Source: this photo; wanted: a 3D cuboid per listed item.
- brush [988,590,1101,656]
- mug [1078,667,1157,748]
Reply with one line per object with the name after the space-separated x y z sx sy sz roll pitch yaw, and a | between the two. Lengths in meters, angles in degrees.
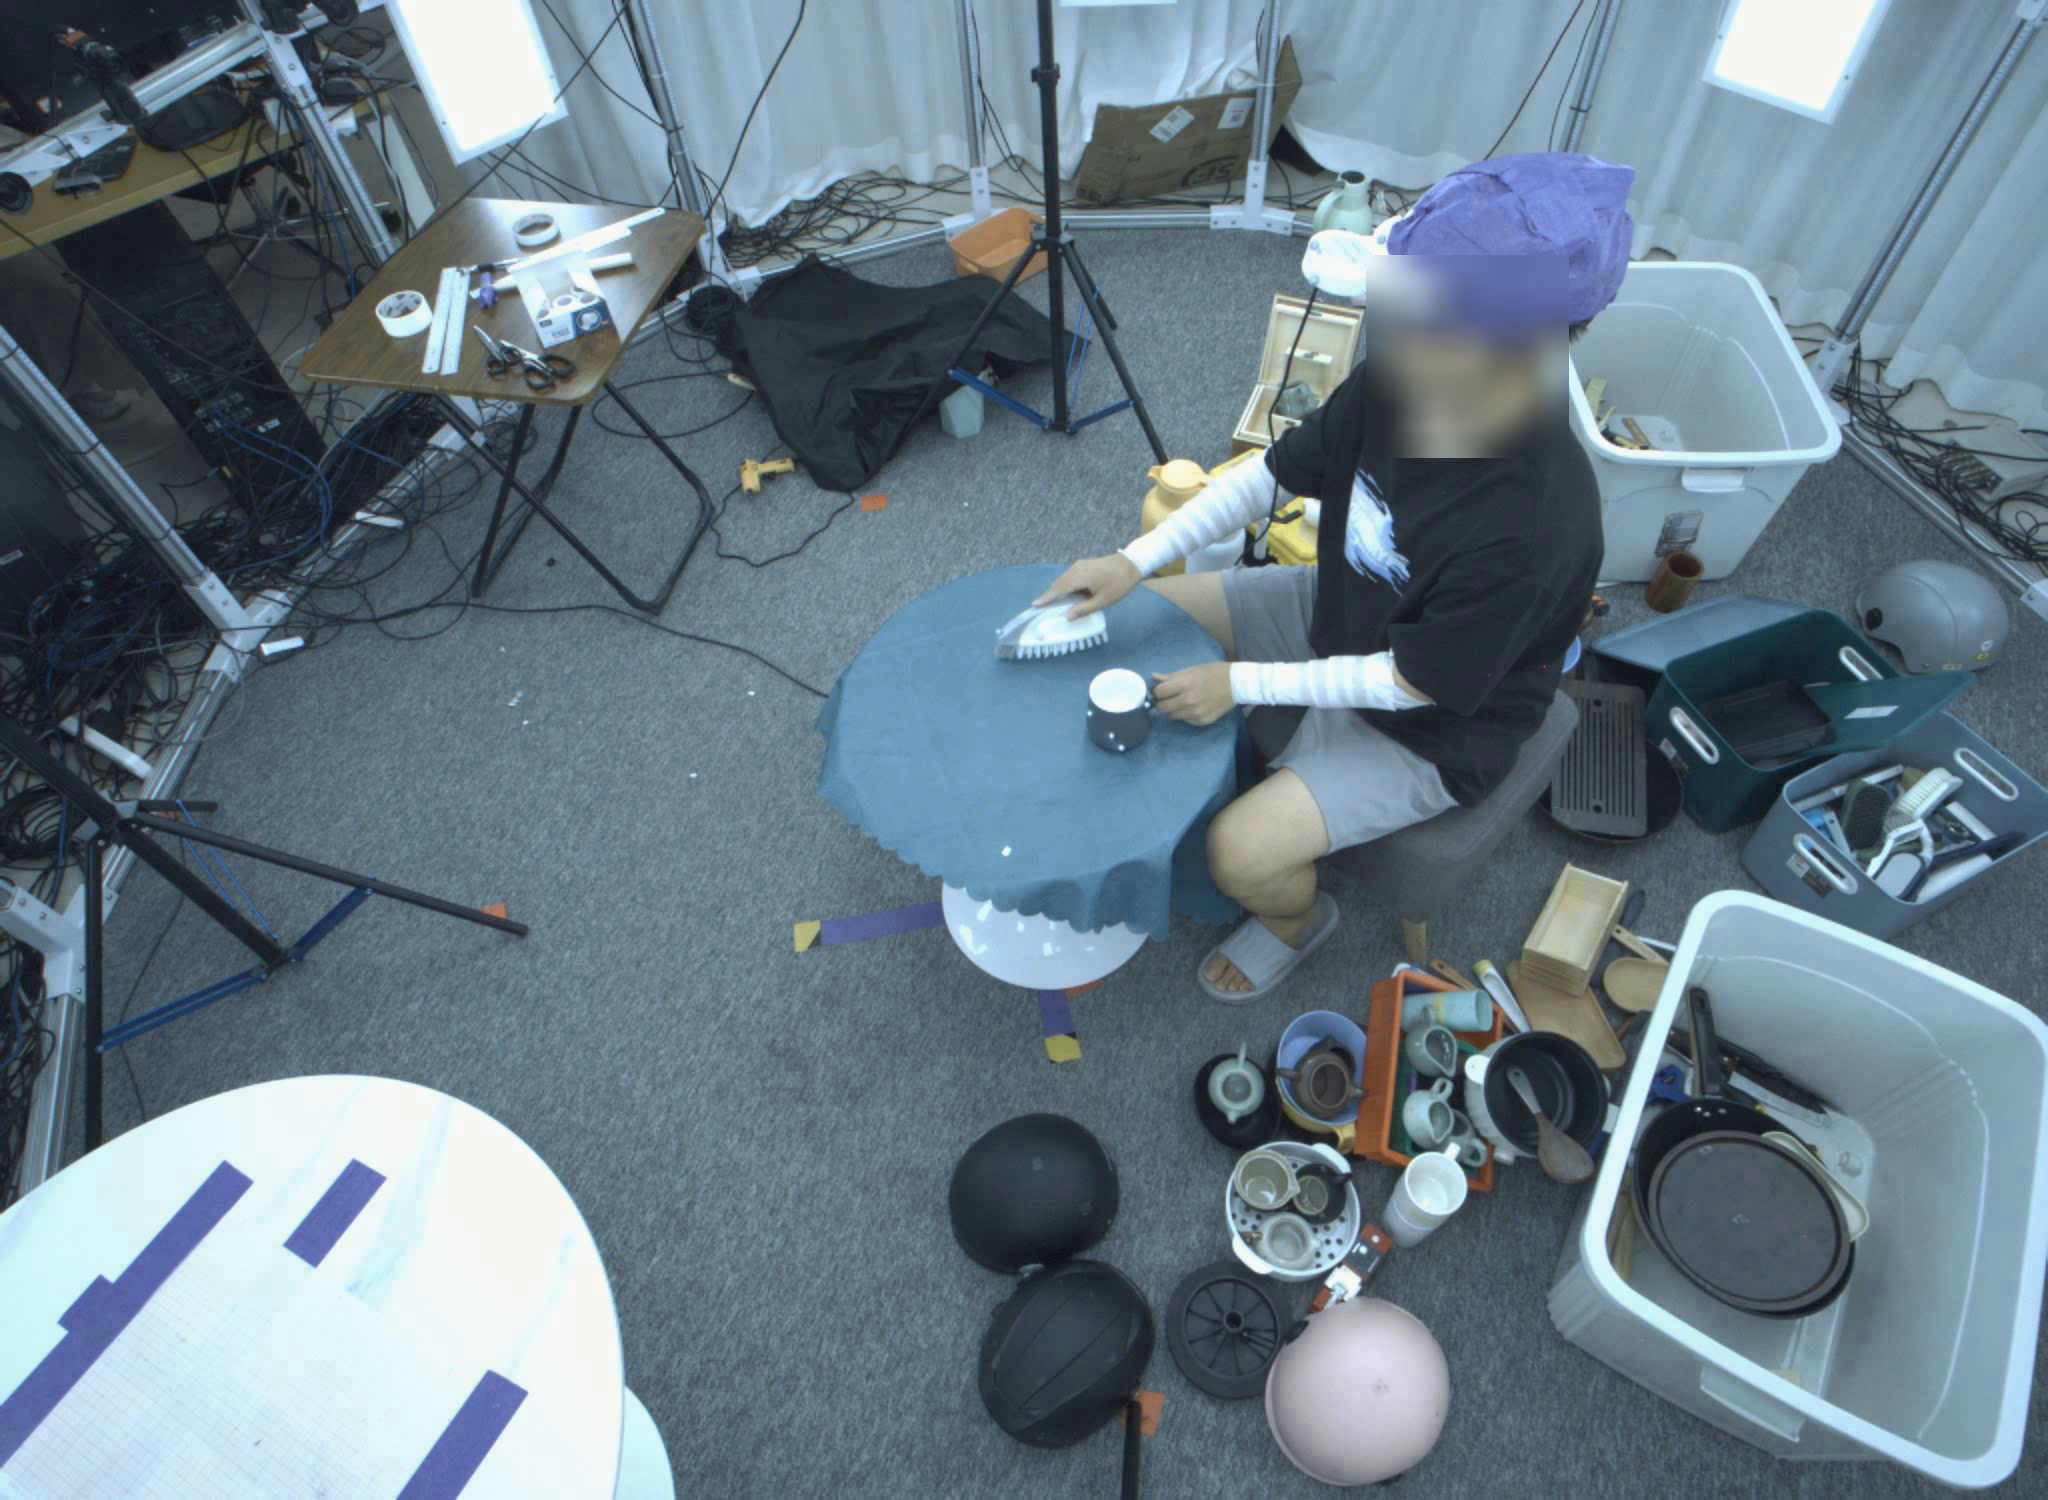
0.025 -0.193 1.847 0.176 0.095 0.060 -14 51 -2 | brush
0.136 -0.067 1.766 0.124 0.091 0.092 -25 56 -15 | mug
